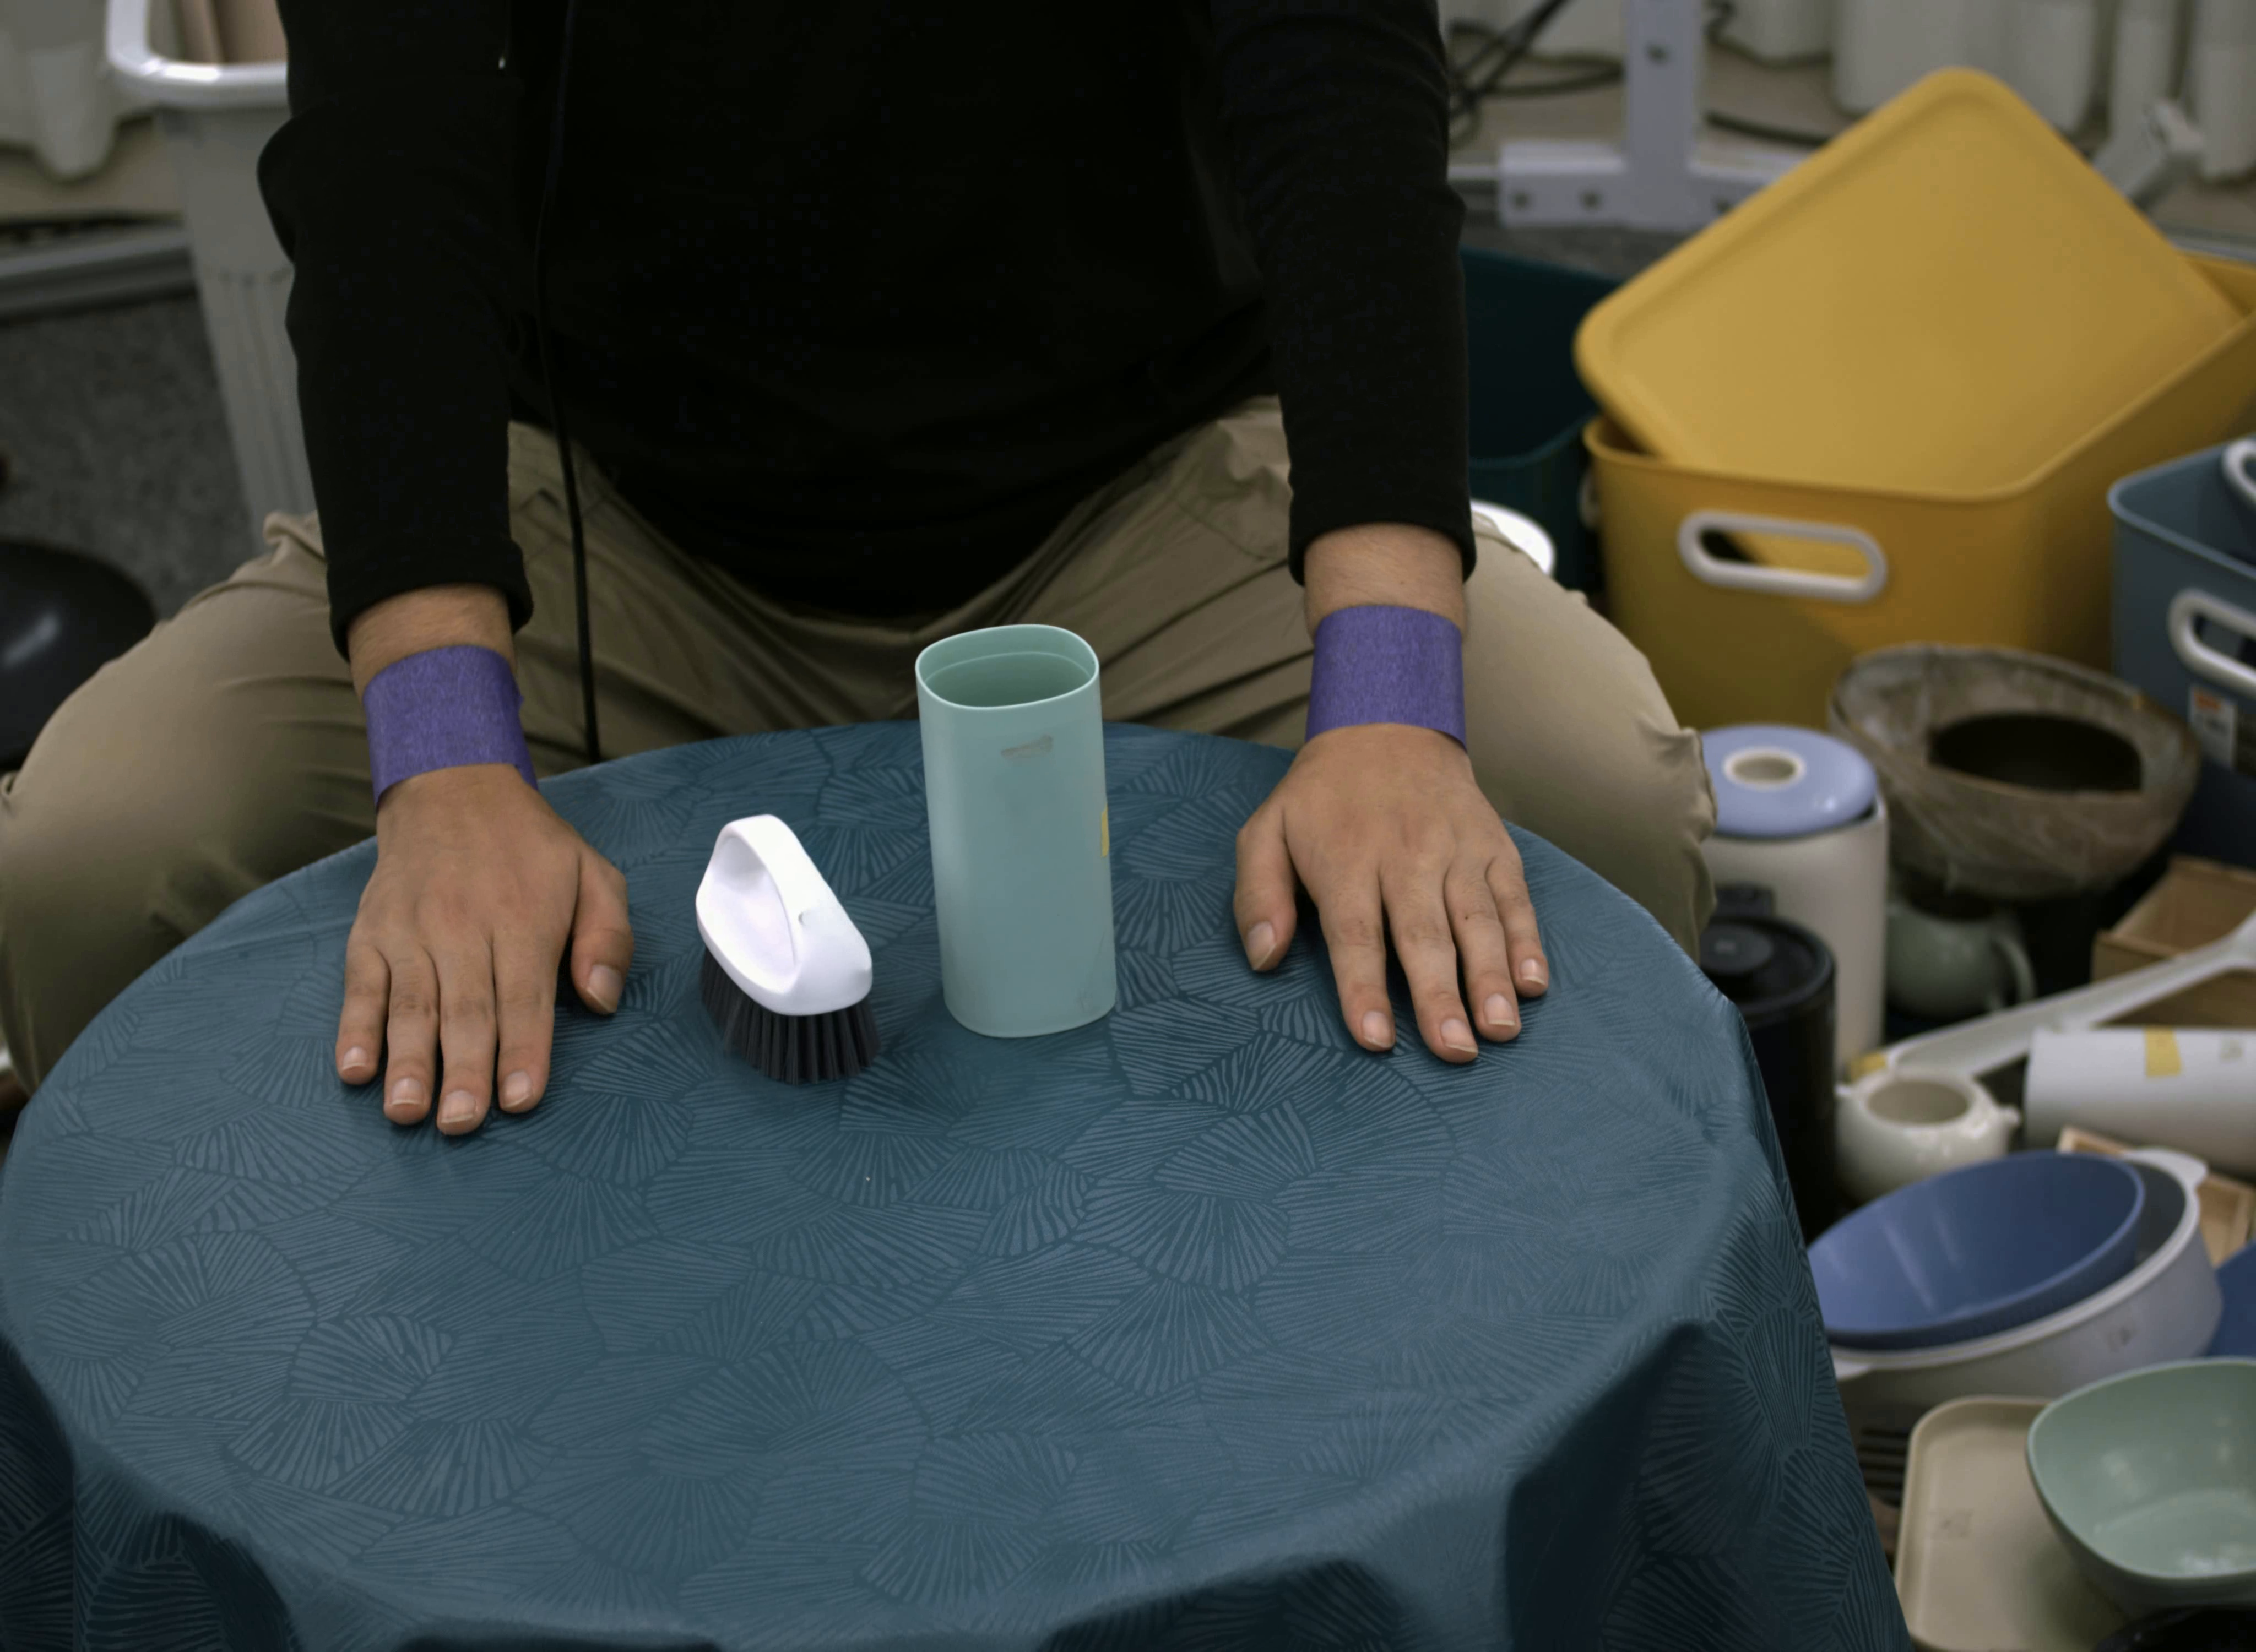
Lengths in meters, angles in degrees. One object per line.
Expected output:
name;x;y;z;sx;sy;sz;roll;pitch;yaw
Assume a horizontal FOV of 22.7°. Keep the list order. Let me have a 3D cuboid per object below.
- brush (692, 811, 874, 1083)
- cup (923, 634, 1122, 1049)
brush;-0.122;0.036;1.959;0.050;0.072;0.100;-11;29;-19
cup;-0.038;0.006;1.957;0.066;0.131;0.068;-3;27;2
